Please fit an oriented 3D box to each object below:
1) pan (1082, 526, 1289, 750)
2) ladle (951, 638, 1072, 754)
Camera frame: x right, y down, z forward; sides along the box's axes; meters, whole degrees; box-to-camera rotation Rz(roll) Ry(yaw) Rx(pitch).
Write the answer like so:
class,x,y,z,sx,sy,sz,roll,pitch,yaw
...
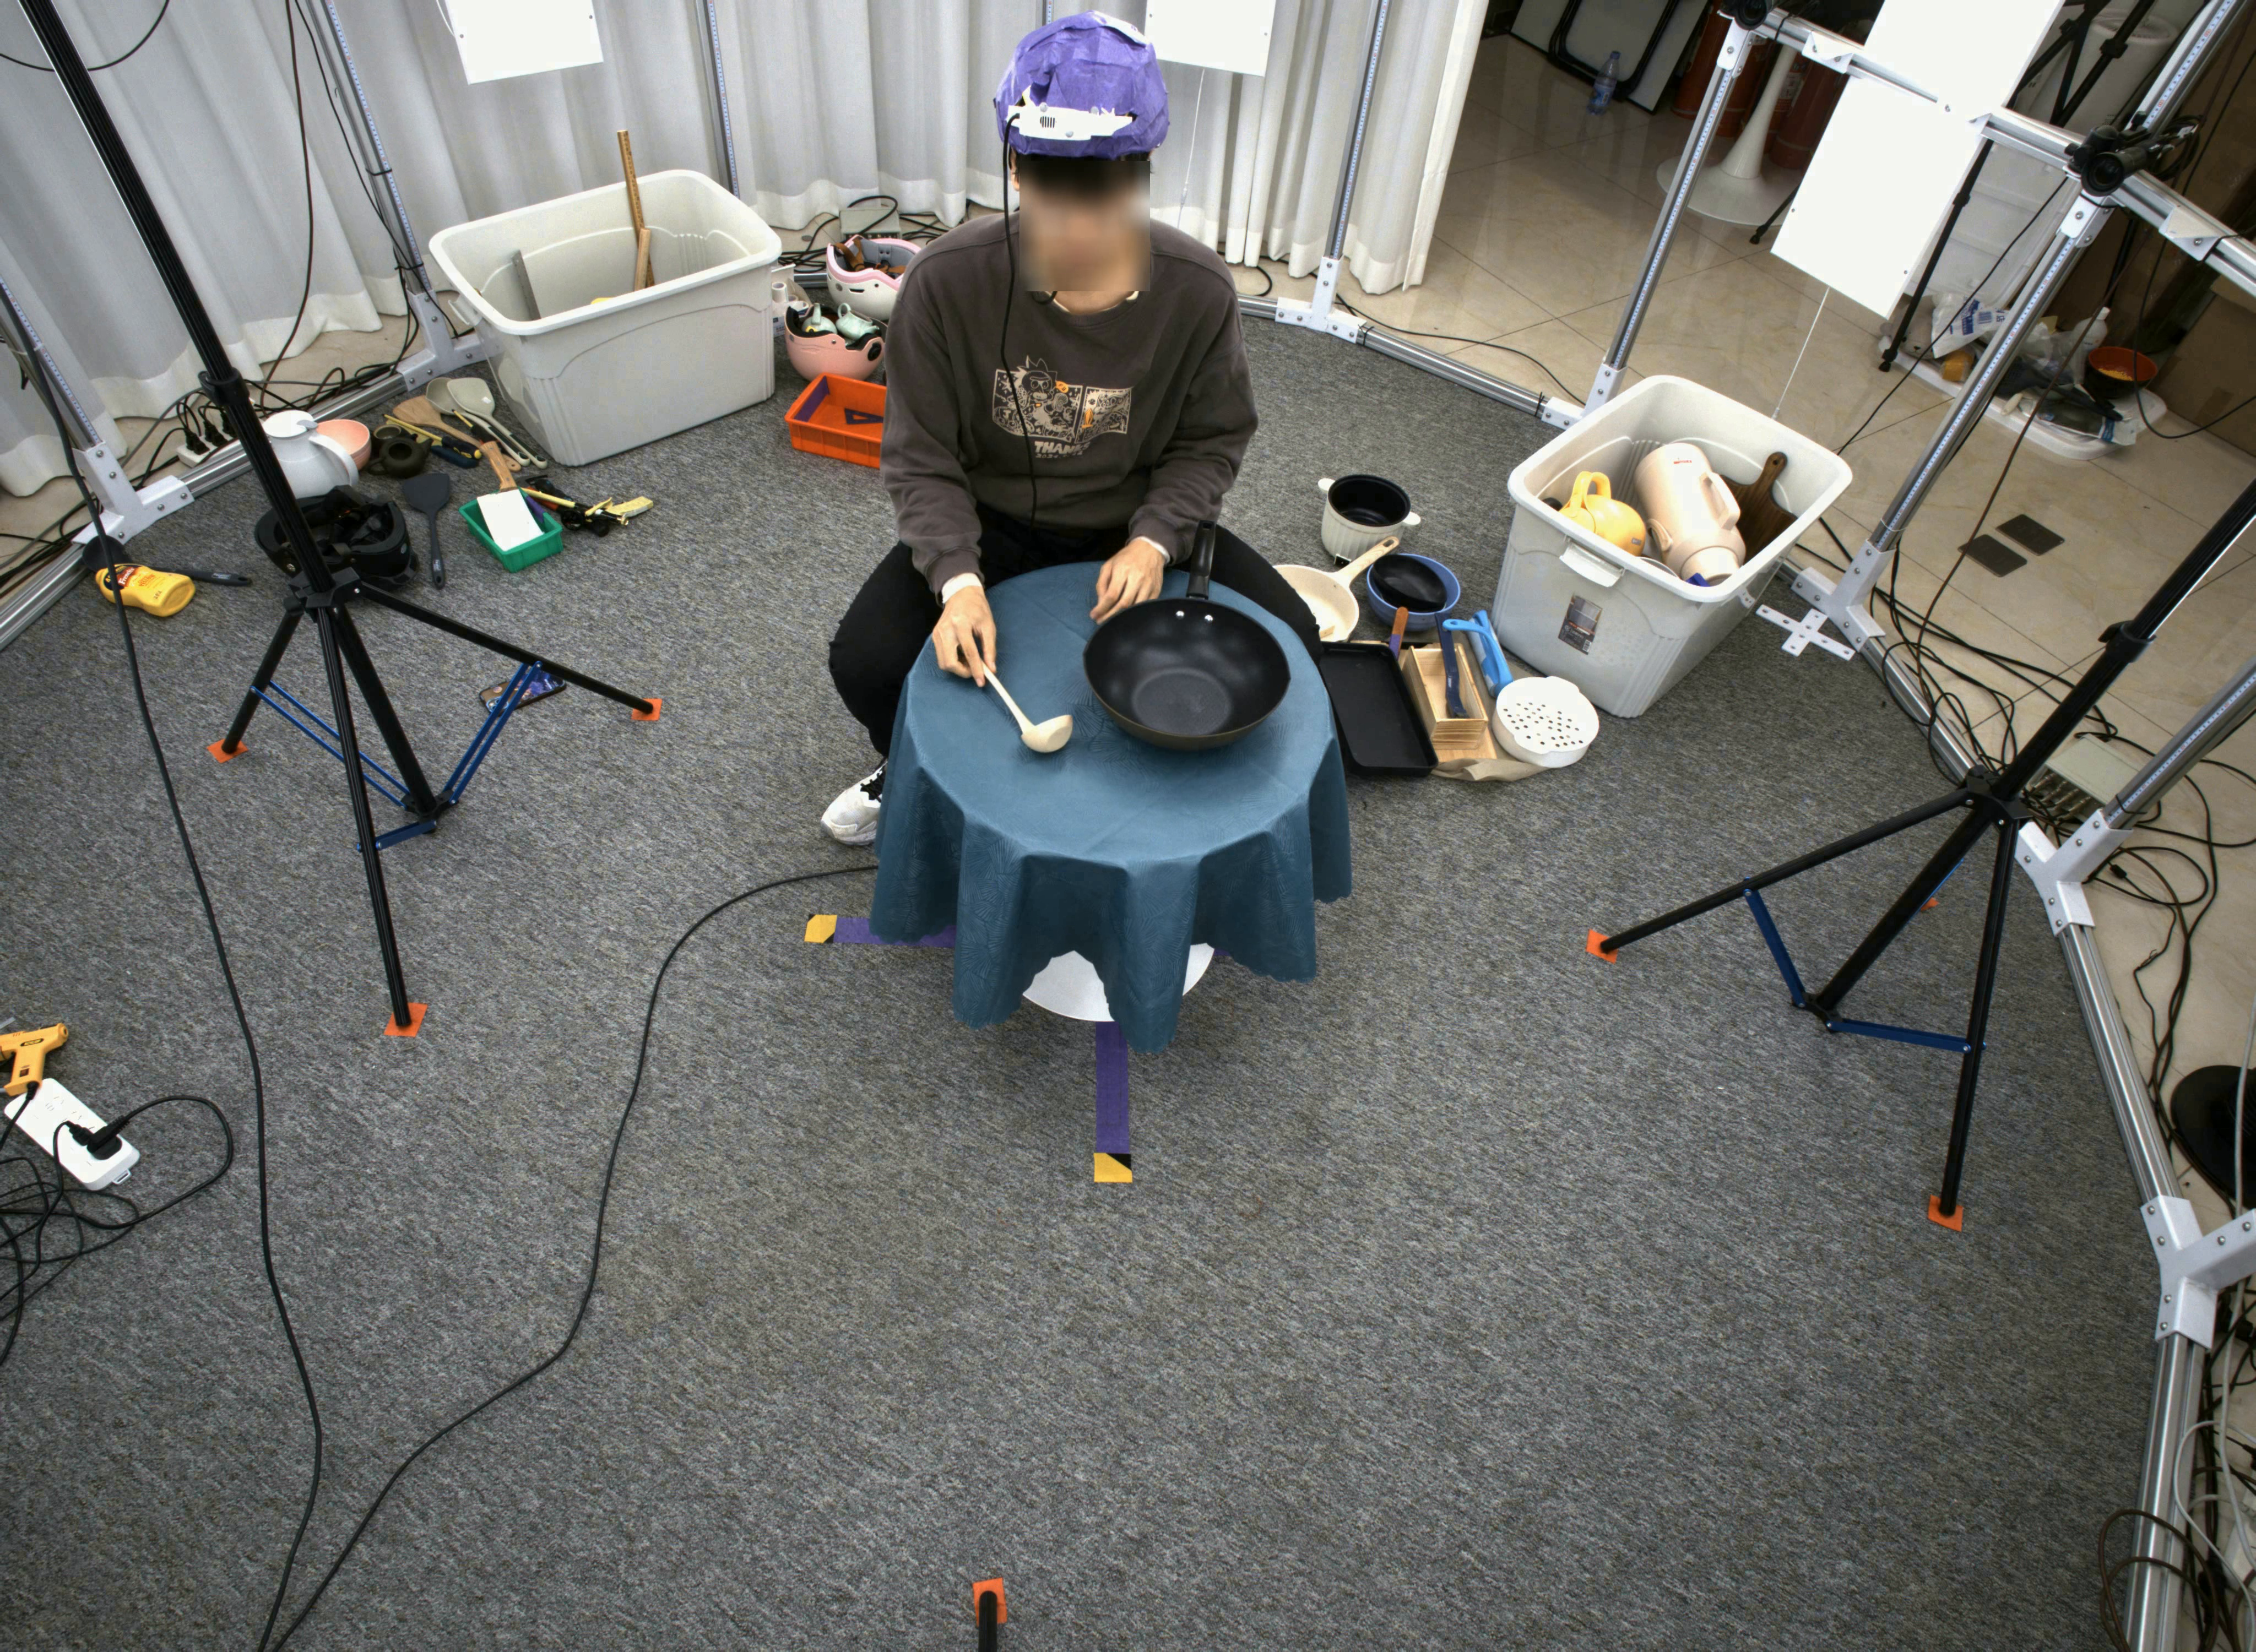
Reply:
class,x,y,z,sx,sy,sz,roll,pitch,yaw
pan,0.089,-0.267,1.850,0.288,0.085,0.474,8,48,3
ladle,-0.167,-0.201,1.771,0.072,0.071,0.259,-22,60,-33
